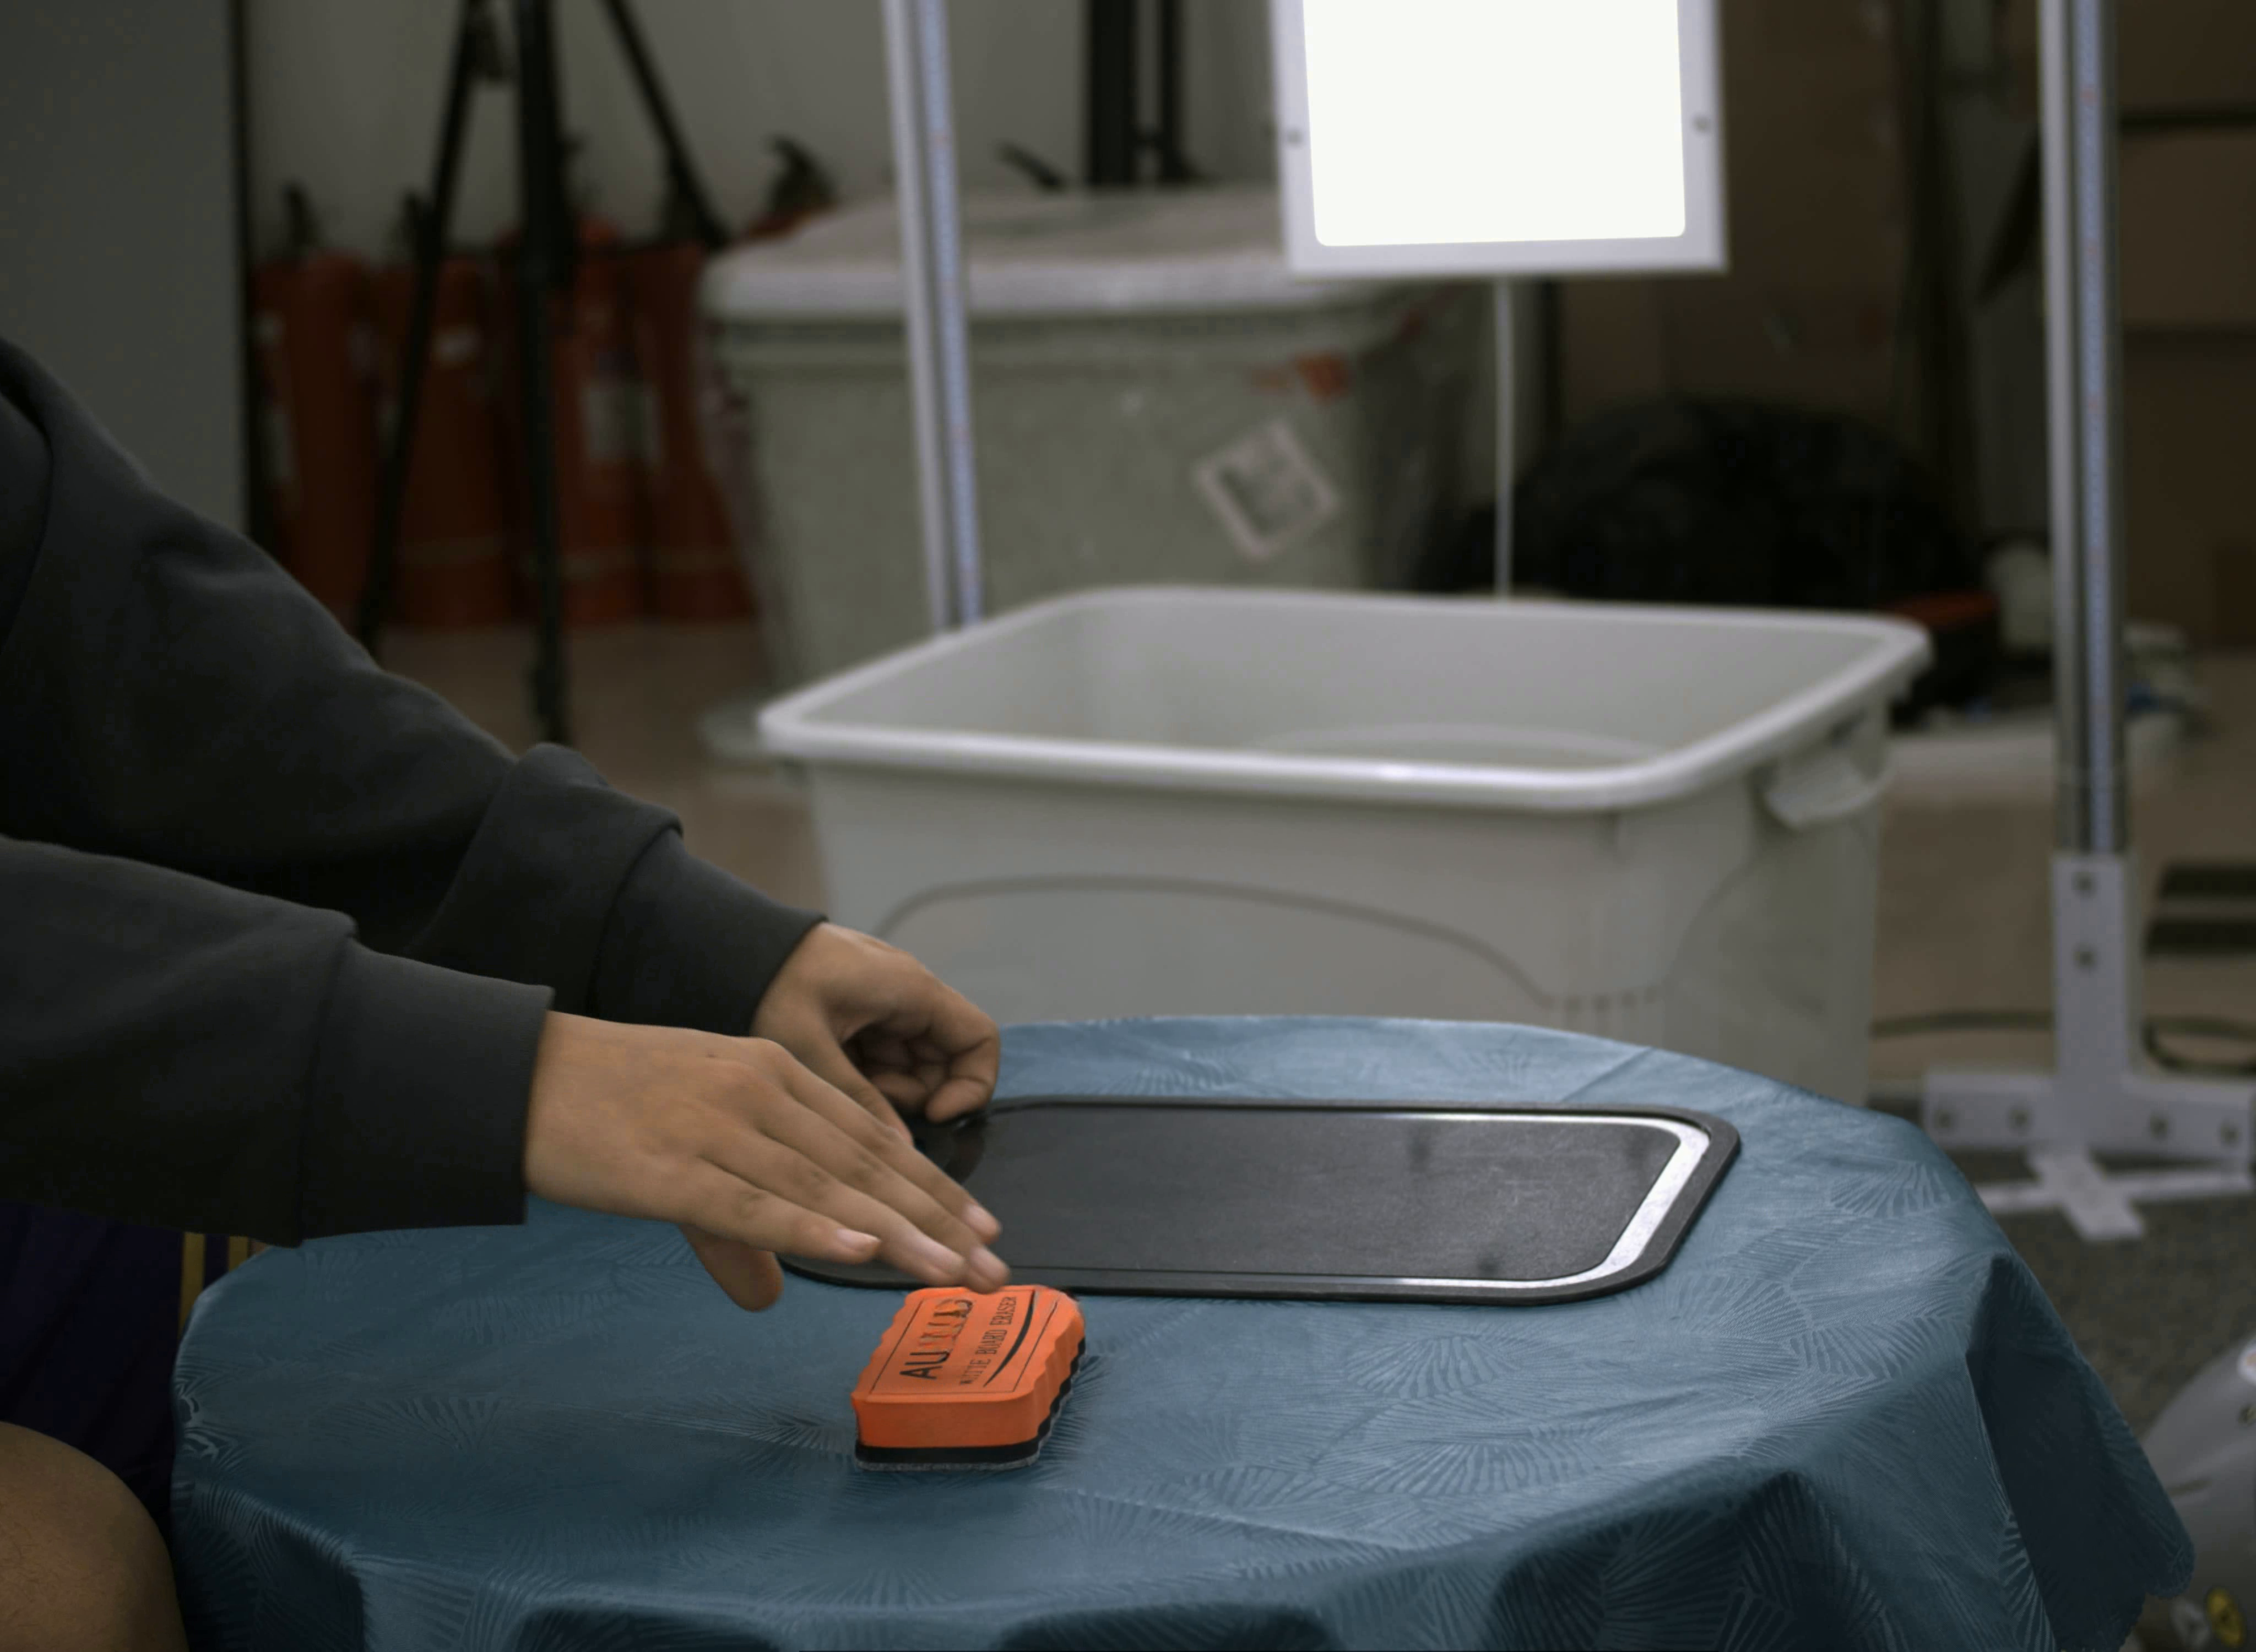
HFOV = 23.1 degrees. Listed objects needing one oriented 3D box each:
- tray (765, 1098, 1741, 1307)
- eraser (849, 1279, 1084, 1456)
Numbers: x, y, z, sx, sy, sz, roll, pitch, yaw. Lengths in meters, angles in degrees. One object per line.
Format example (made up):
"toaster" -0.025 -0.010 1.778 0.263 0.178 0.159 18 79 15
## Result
"tray" 0.038 0.124 1.879 0.329 0.010 0.207 0 14 20
"eraser" -0.048 0.166 1.693 0.059 0.023 0.107 -1 13 10
